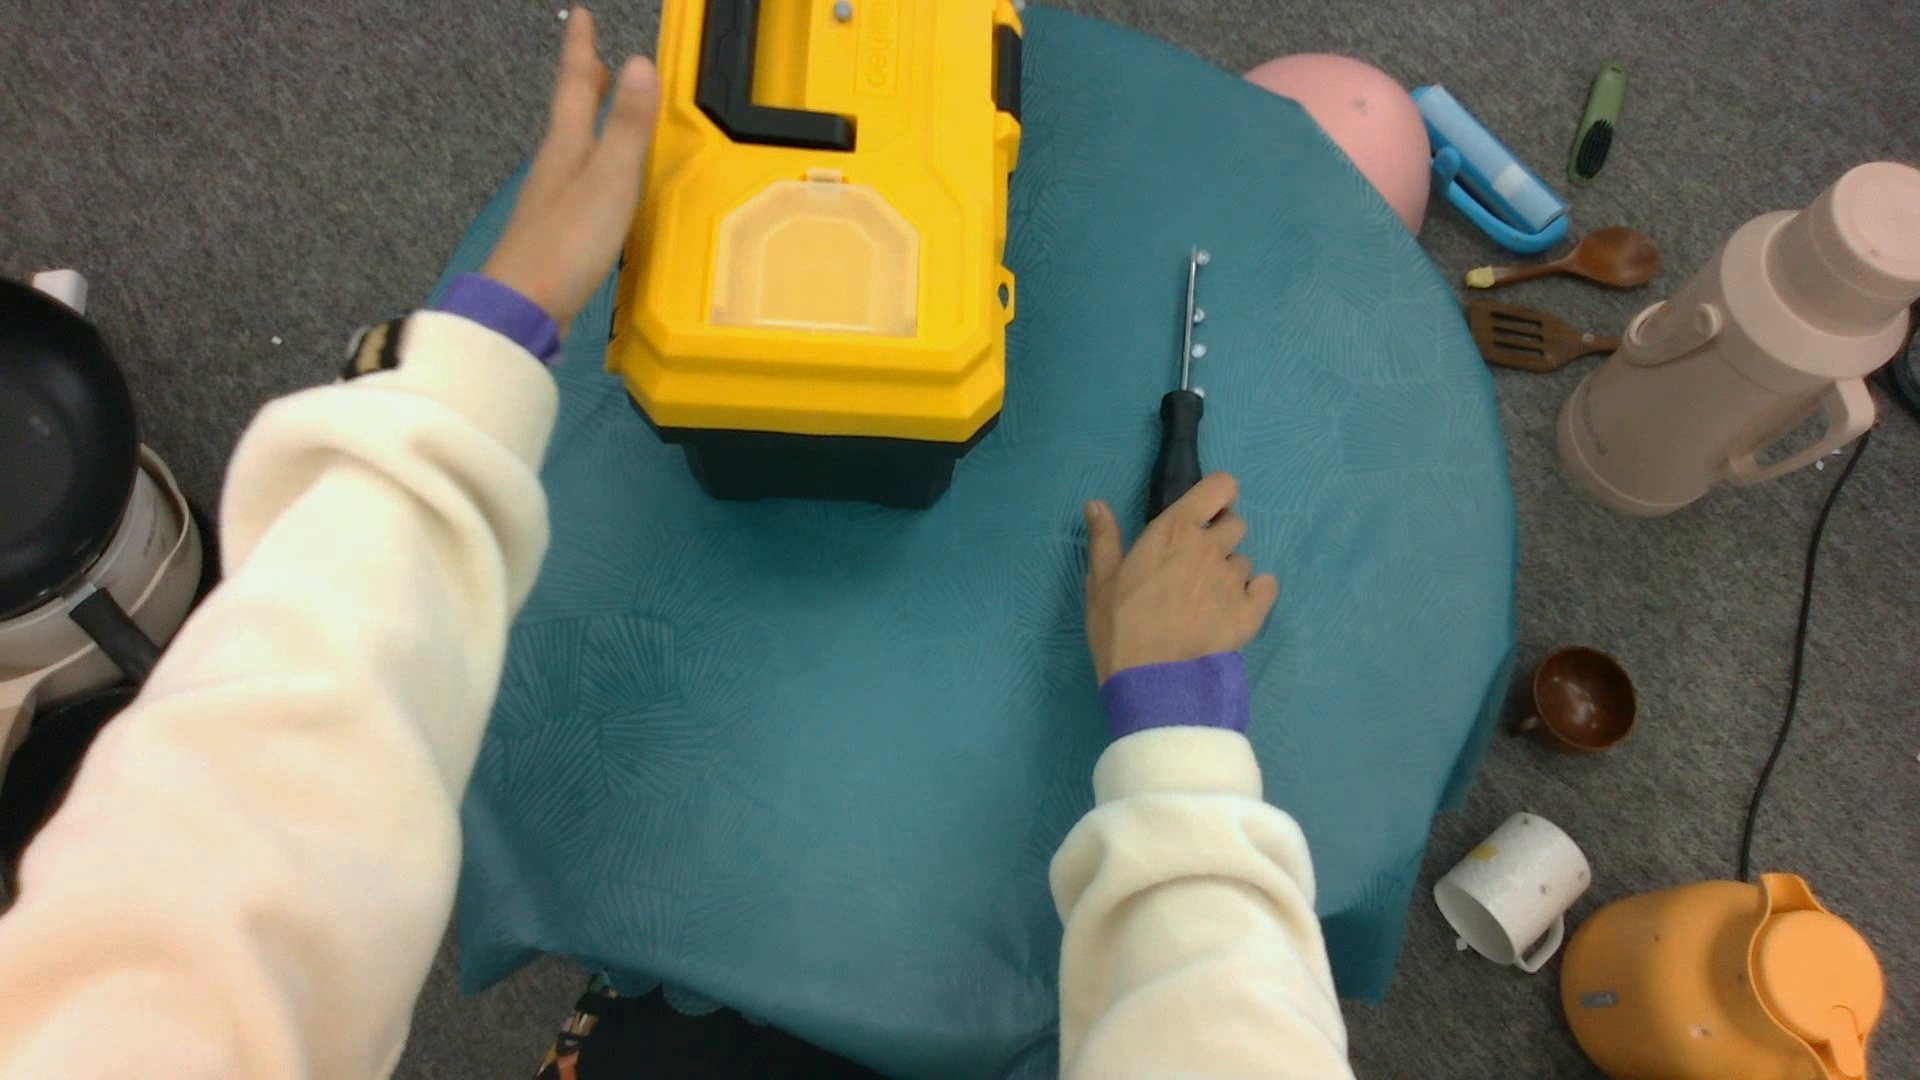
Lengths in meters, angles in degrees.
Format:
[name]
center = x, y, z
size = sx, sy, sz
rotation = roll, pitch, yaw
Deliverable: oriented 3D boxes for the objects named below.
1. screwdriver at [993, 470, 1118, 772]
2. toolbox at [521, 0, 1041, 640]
[screwdriver]
center = 0.058, 0.040, 0.758
size = 0.031, 0.031, 0.199
rotation = 25, 55, -3
[toolbox]
center = -0.082, -0.133, 0.707
size = 0.181, 0.172, 0.353
rotation = 20, 60, -7
